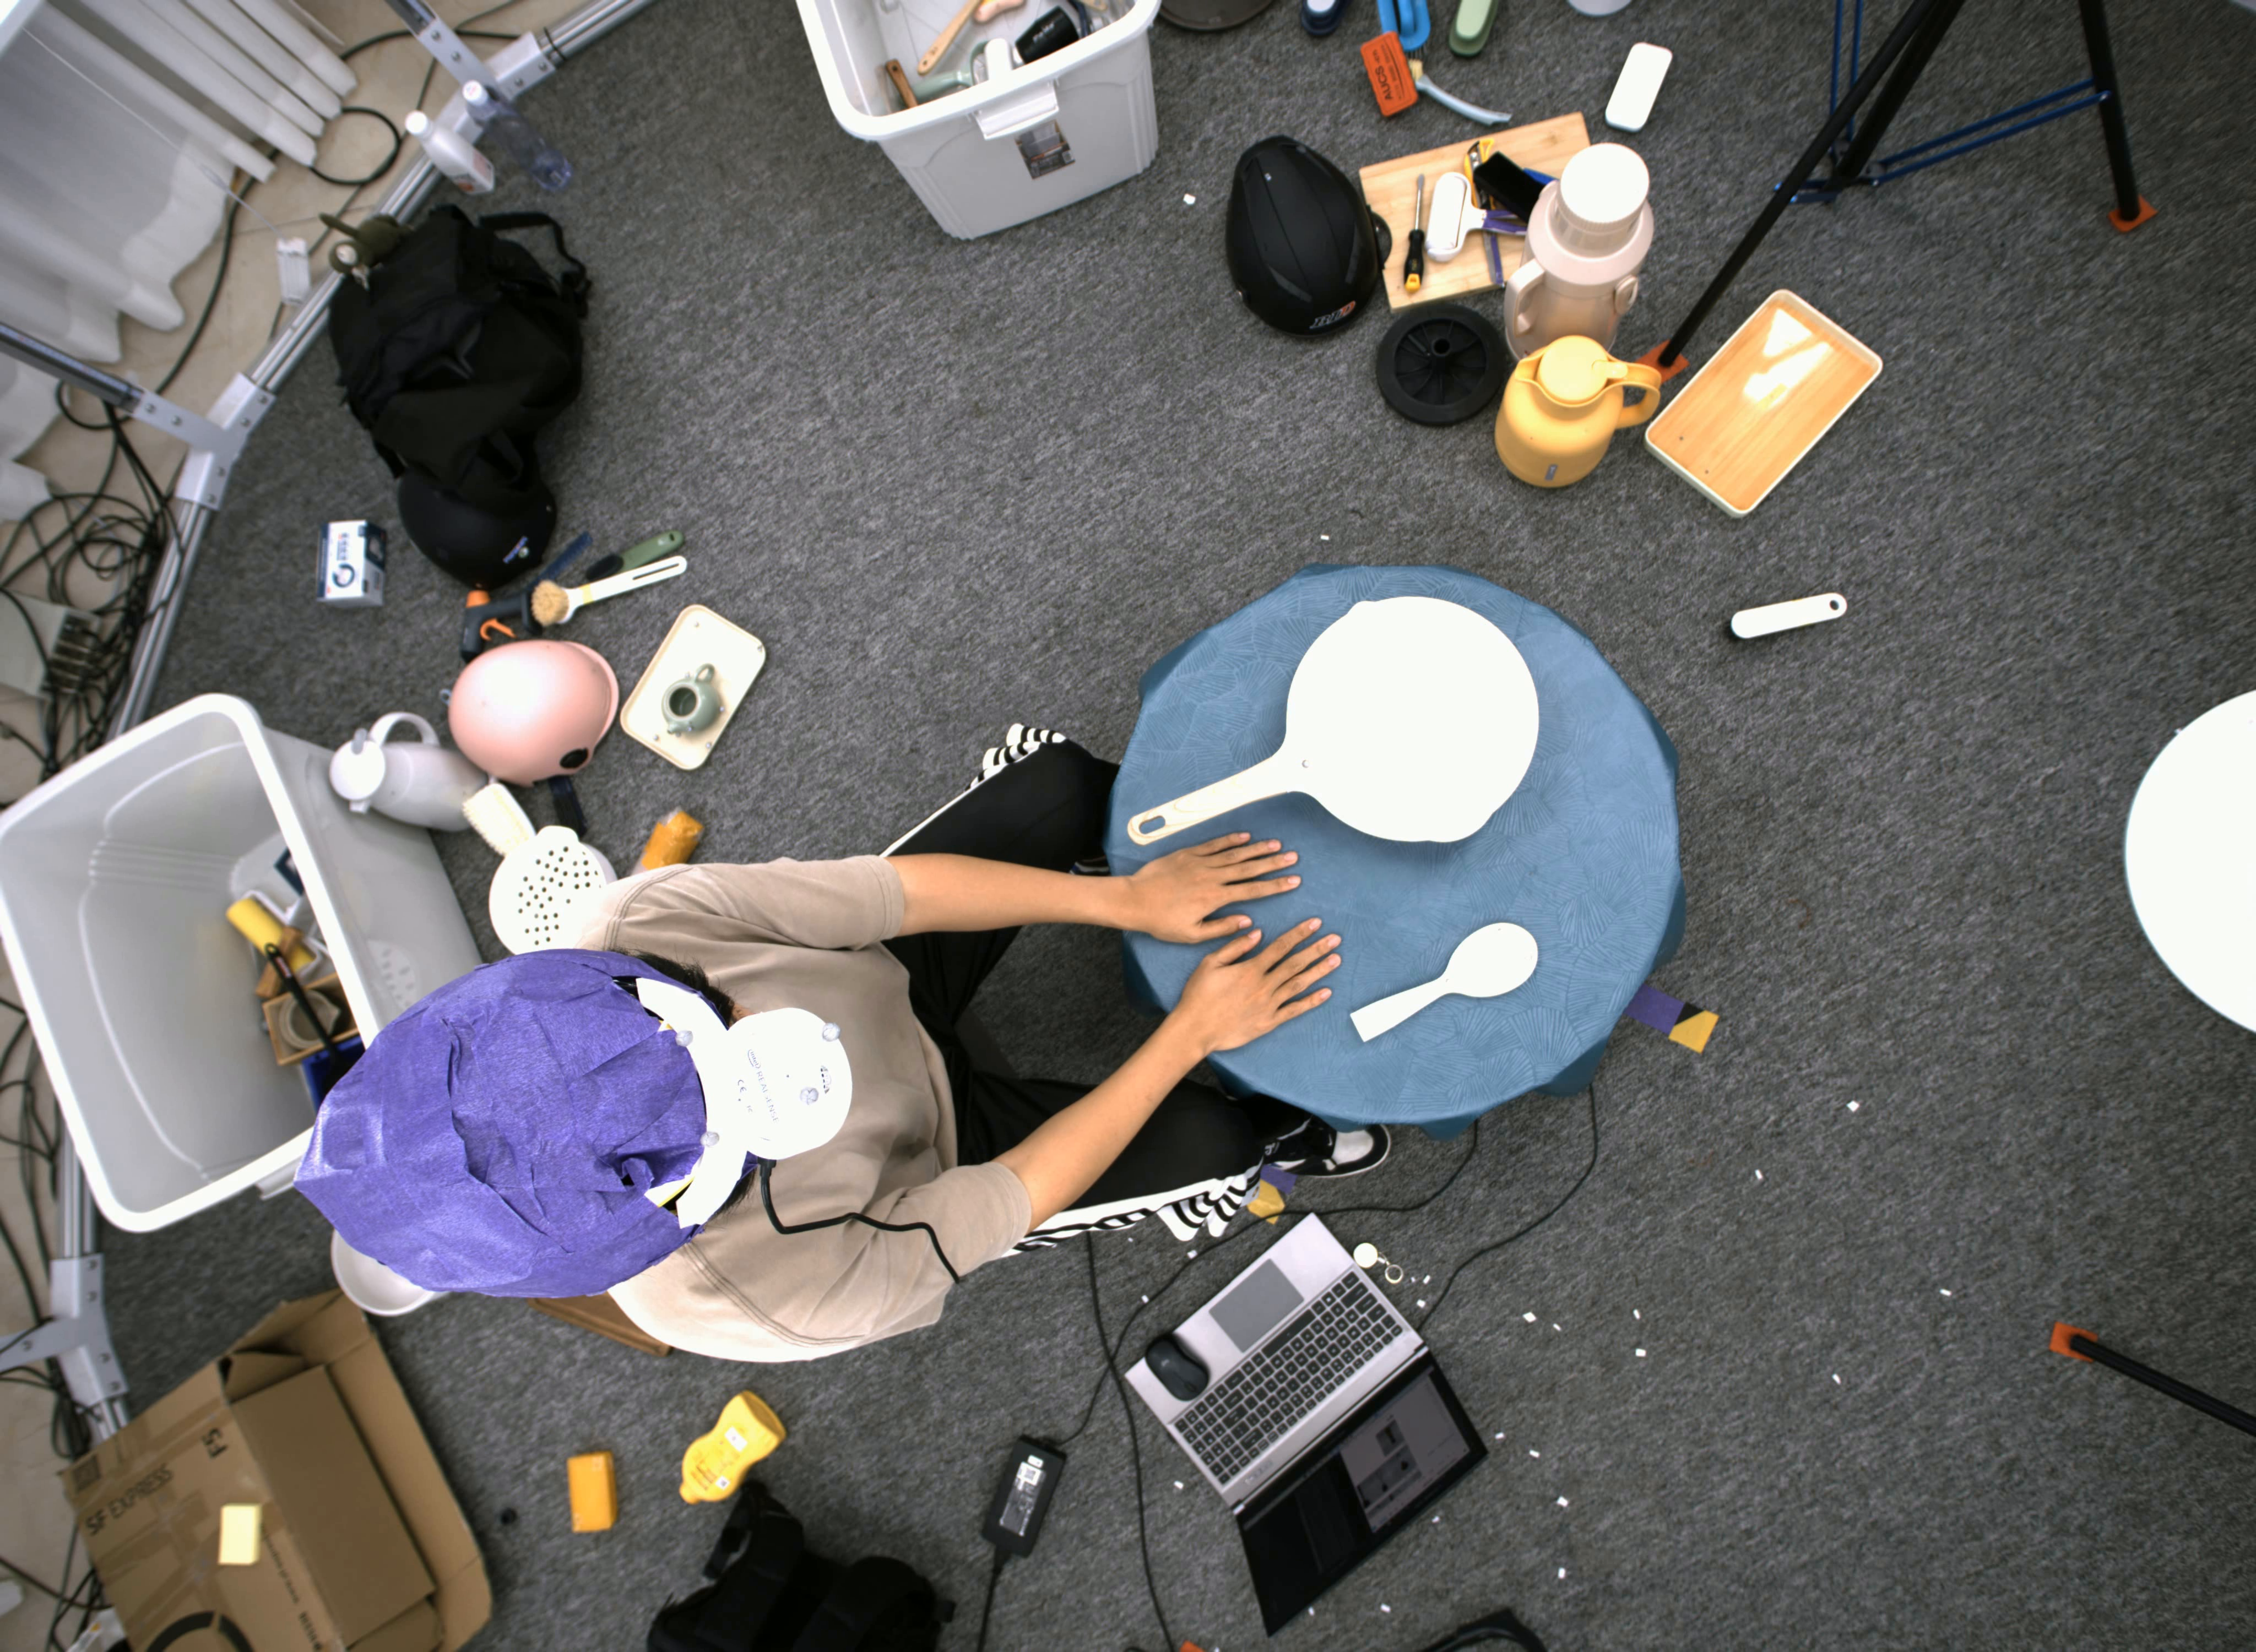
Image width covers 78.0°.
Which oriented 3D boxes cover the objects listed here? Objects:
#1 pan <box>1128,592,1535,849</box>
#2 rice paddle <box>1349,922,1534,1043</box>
[{"bbox_3d":[0.205,-0.075,1.435,0.437,0.102,0.262,-24,85,9],"label":"pan"},{"bbox_3d":[0.326,0.162,1.429,0.206,0.029,0.068,-29,83,8],"label":"rice paddle"}]
